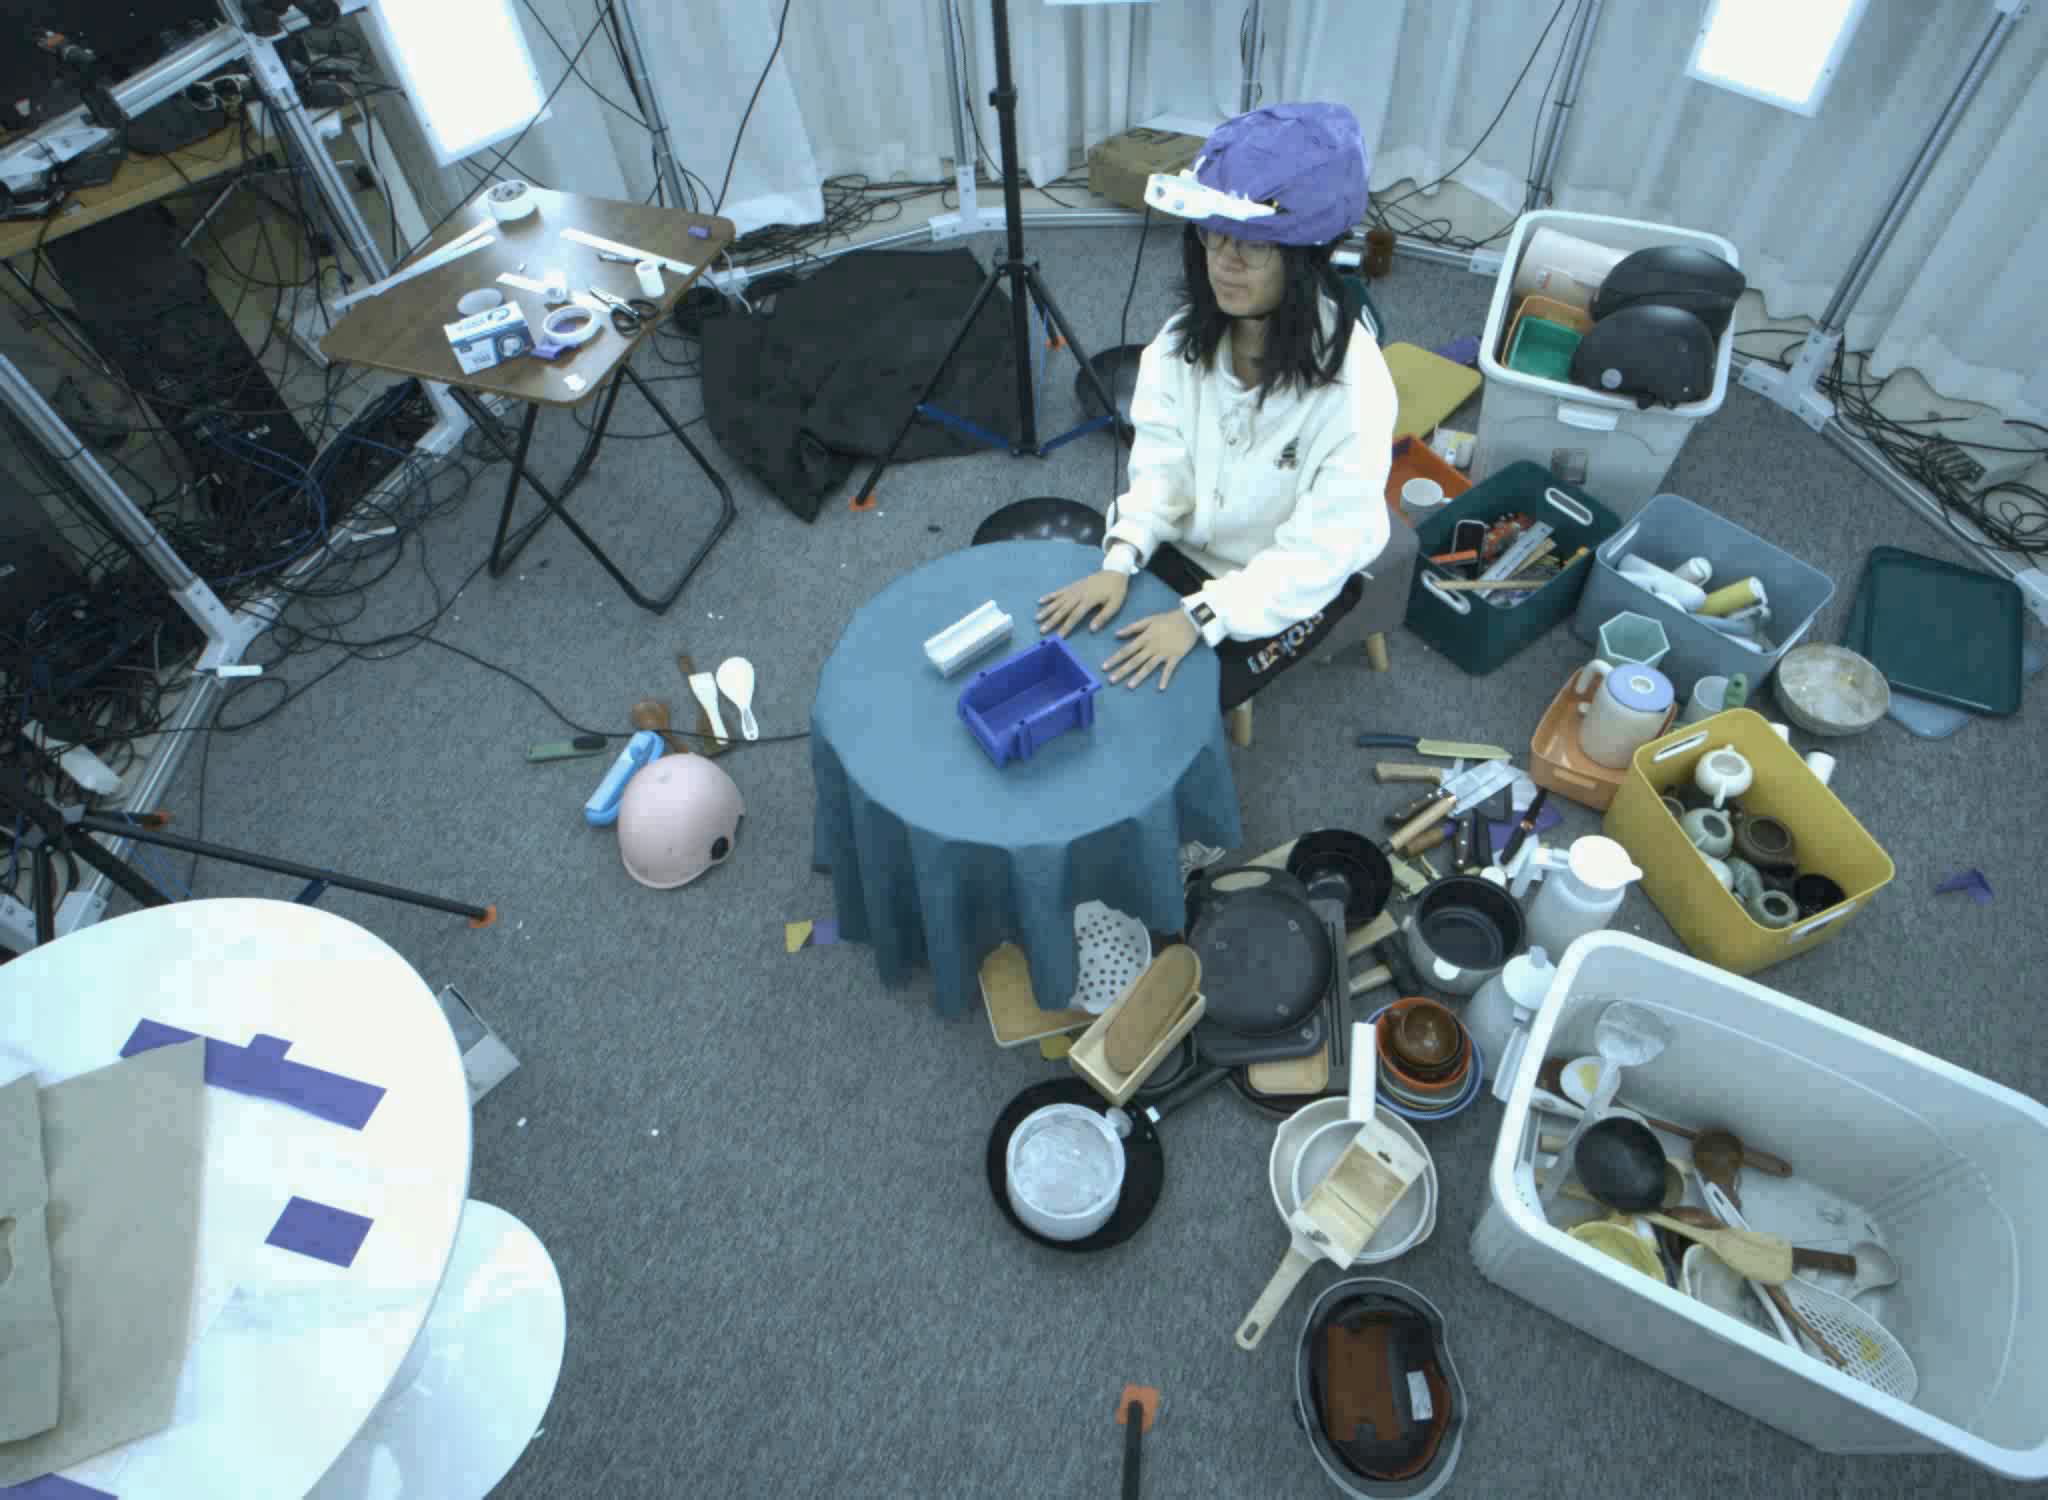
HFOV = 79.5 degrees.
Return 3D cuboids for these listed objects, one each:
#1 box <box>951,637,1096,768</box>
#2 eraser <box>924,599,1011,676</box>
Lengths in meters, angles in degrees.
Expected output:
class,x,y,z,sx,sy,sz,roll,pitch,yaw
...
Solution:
class,x,y,z,sx,sy,sz,roll,pitch,yaw
box,-0.002,-0.064,1.783,0.181,0.083,0.122,-26,58,-18
eraser,-0.086,-0.172,1.883,0.135,0.047,0.049,-38,60,-20
